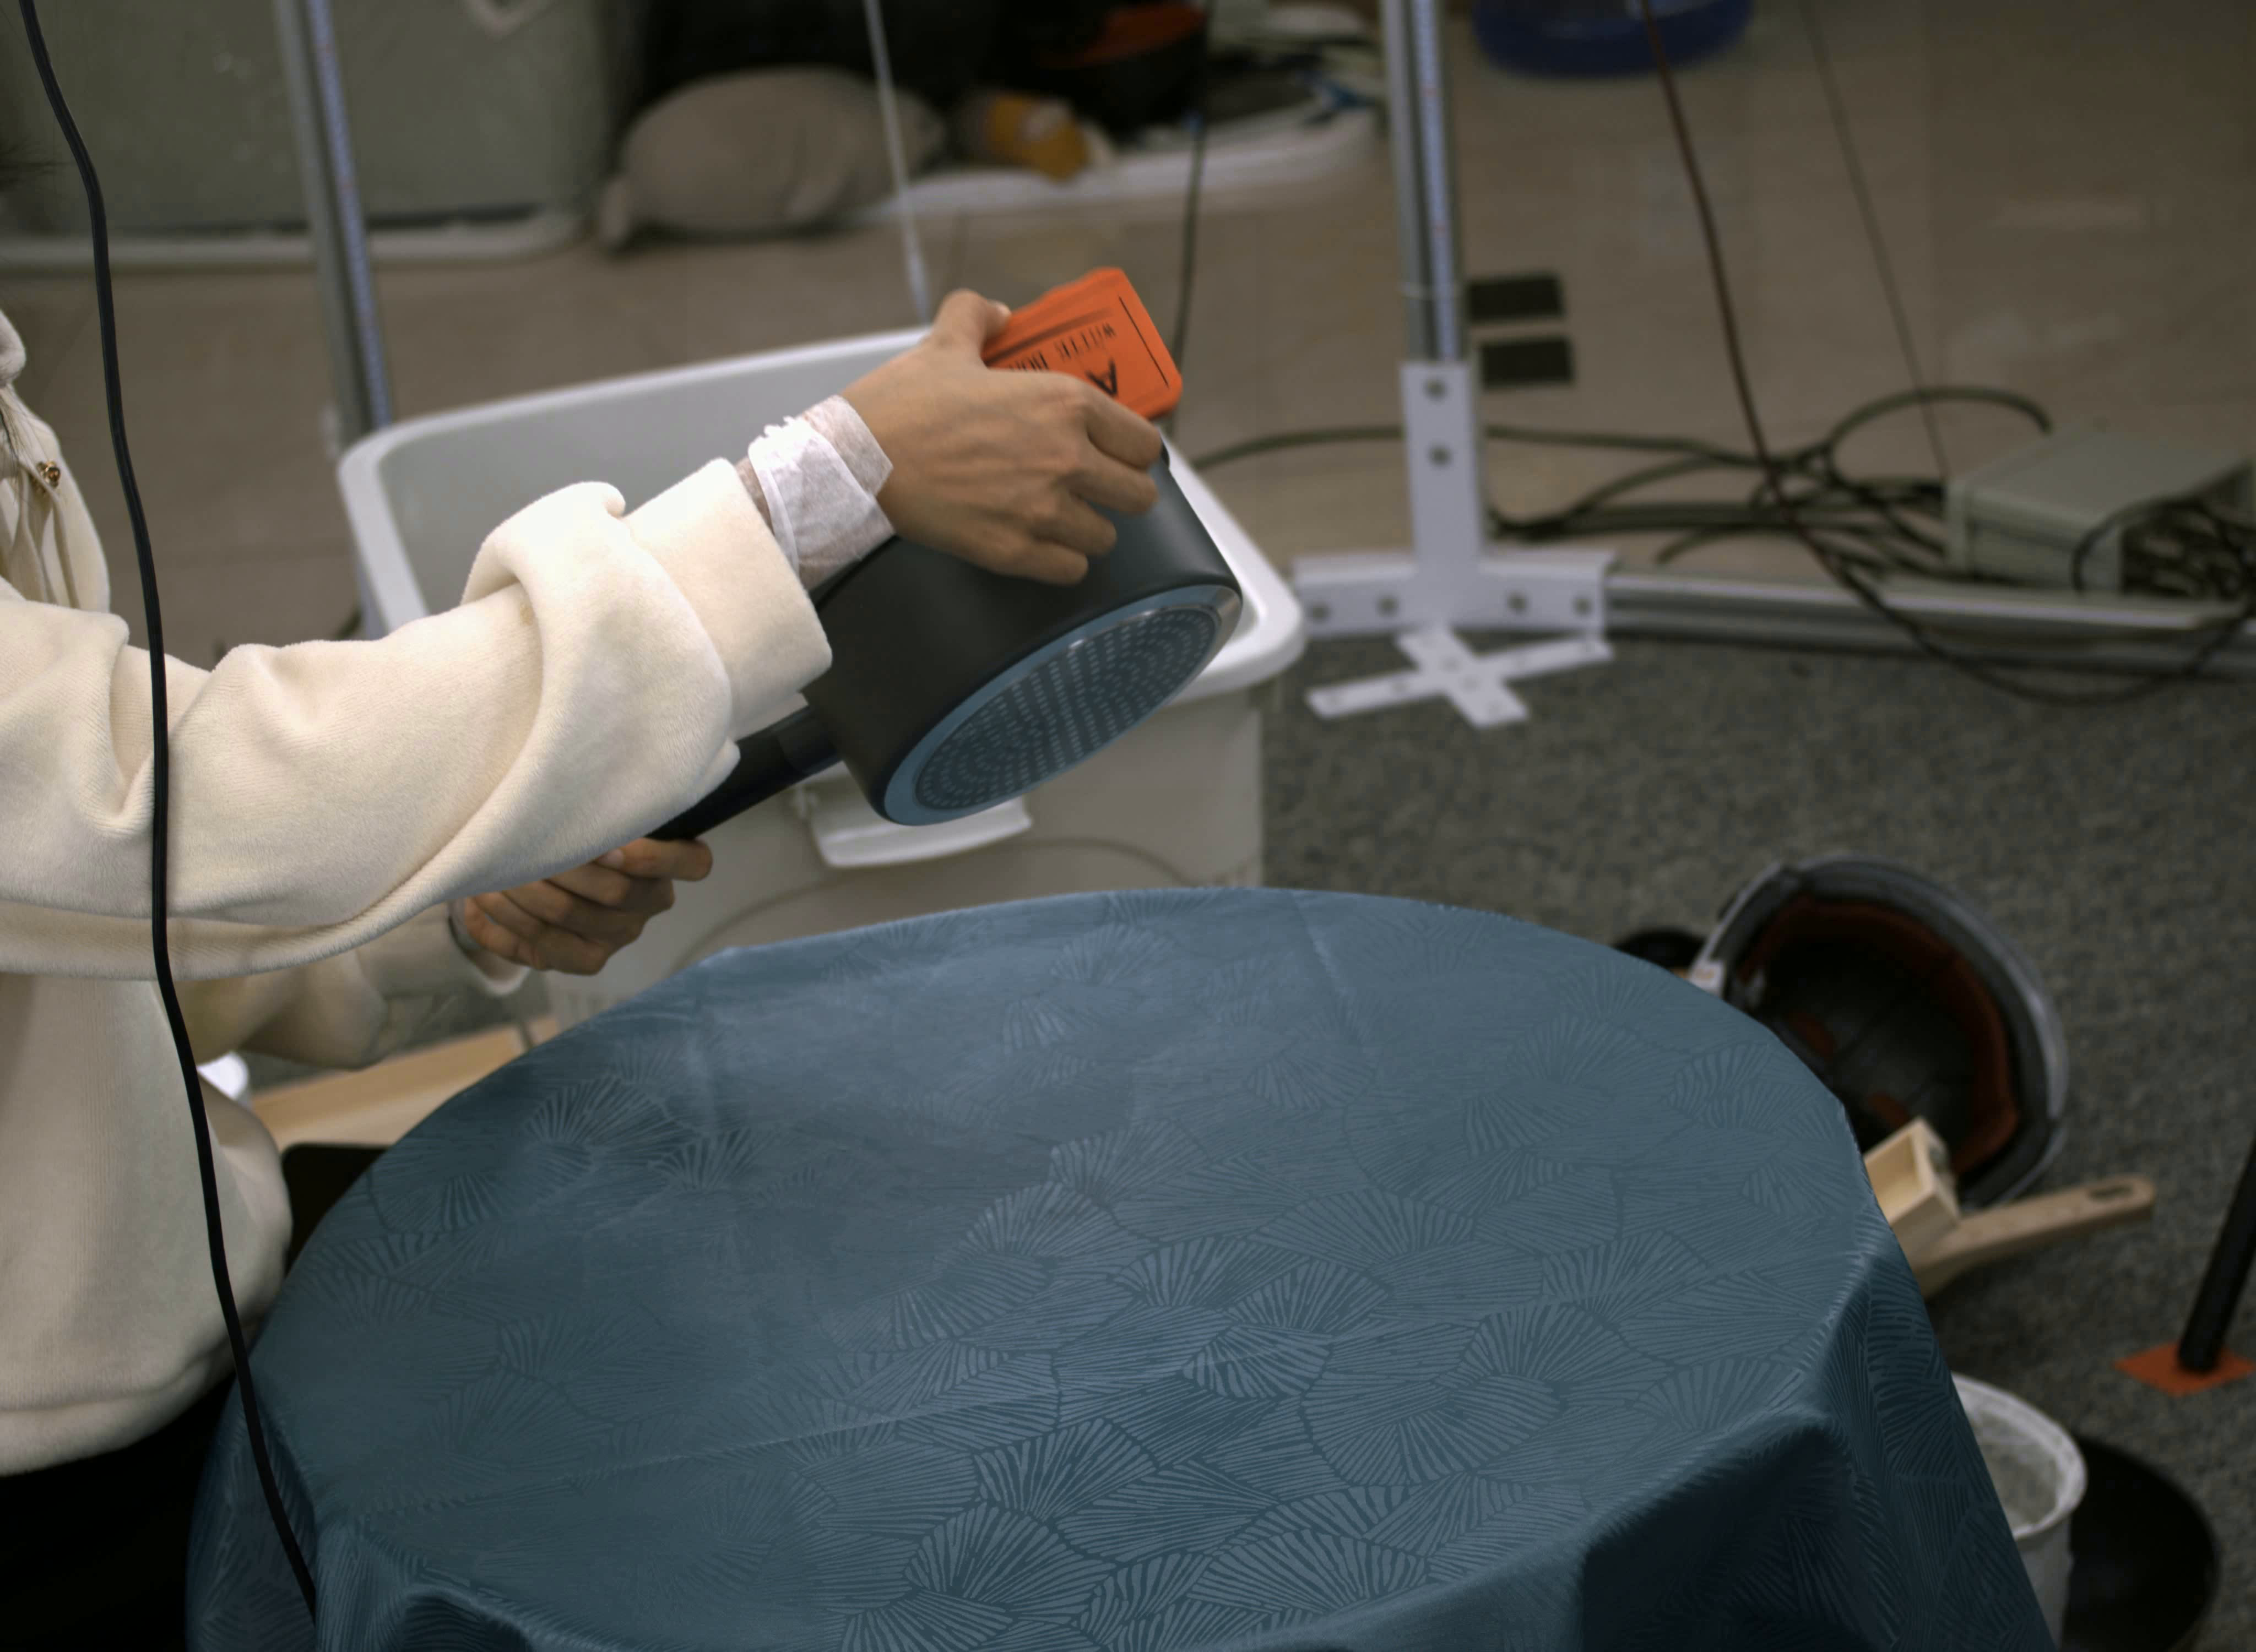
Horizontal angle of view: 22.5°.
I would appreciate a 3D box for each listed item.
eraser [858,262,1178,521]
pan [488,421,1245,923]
[{"bbox_3d":[-0.040,-0.157,2.037,0.108,0.059,0.023,-27,-1,-5],"label":"eraser"},{"bbox_3d":[-0.104,-0.032,2.173,0.331,0.086,0.172,-35,-16,20],"label":"pan"}]
